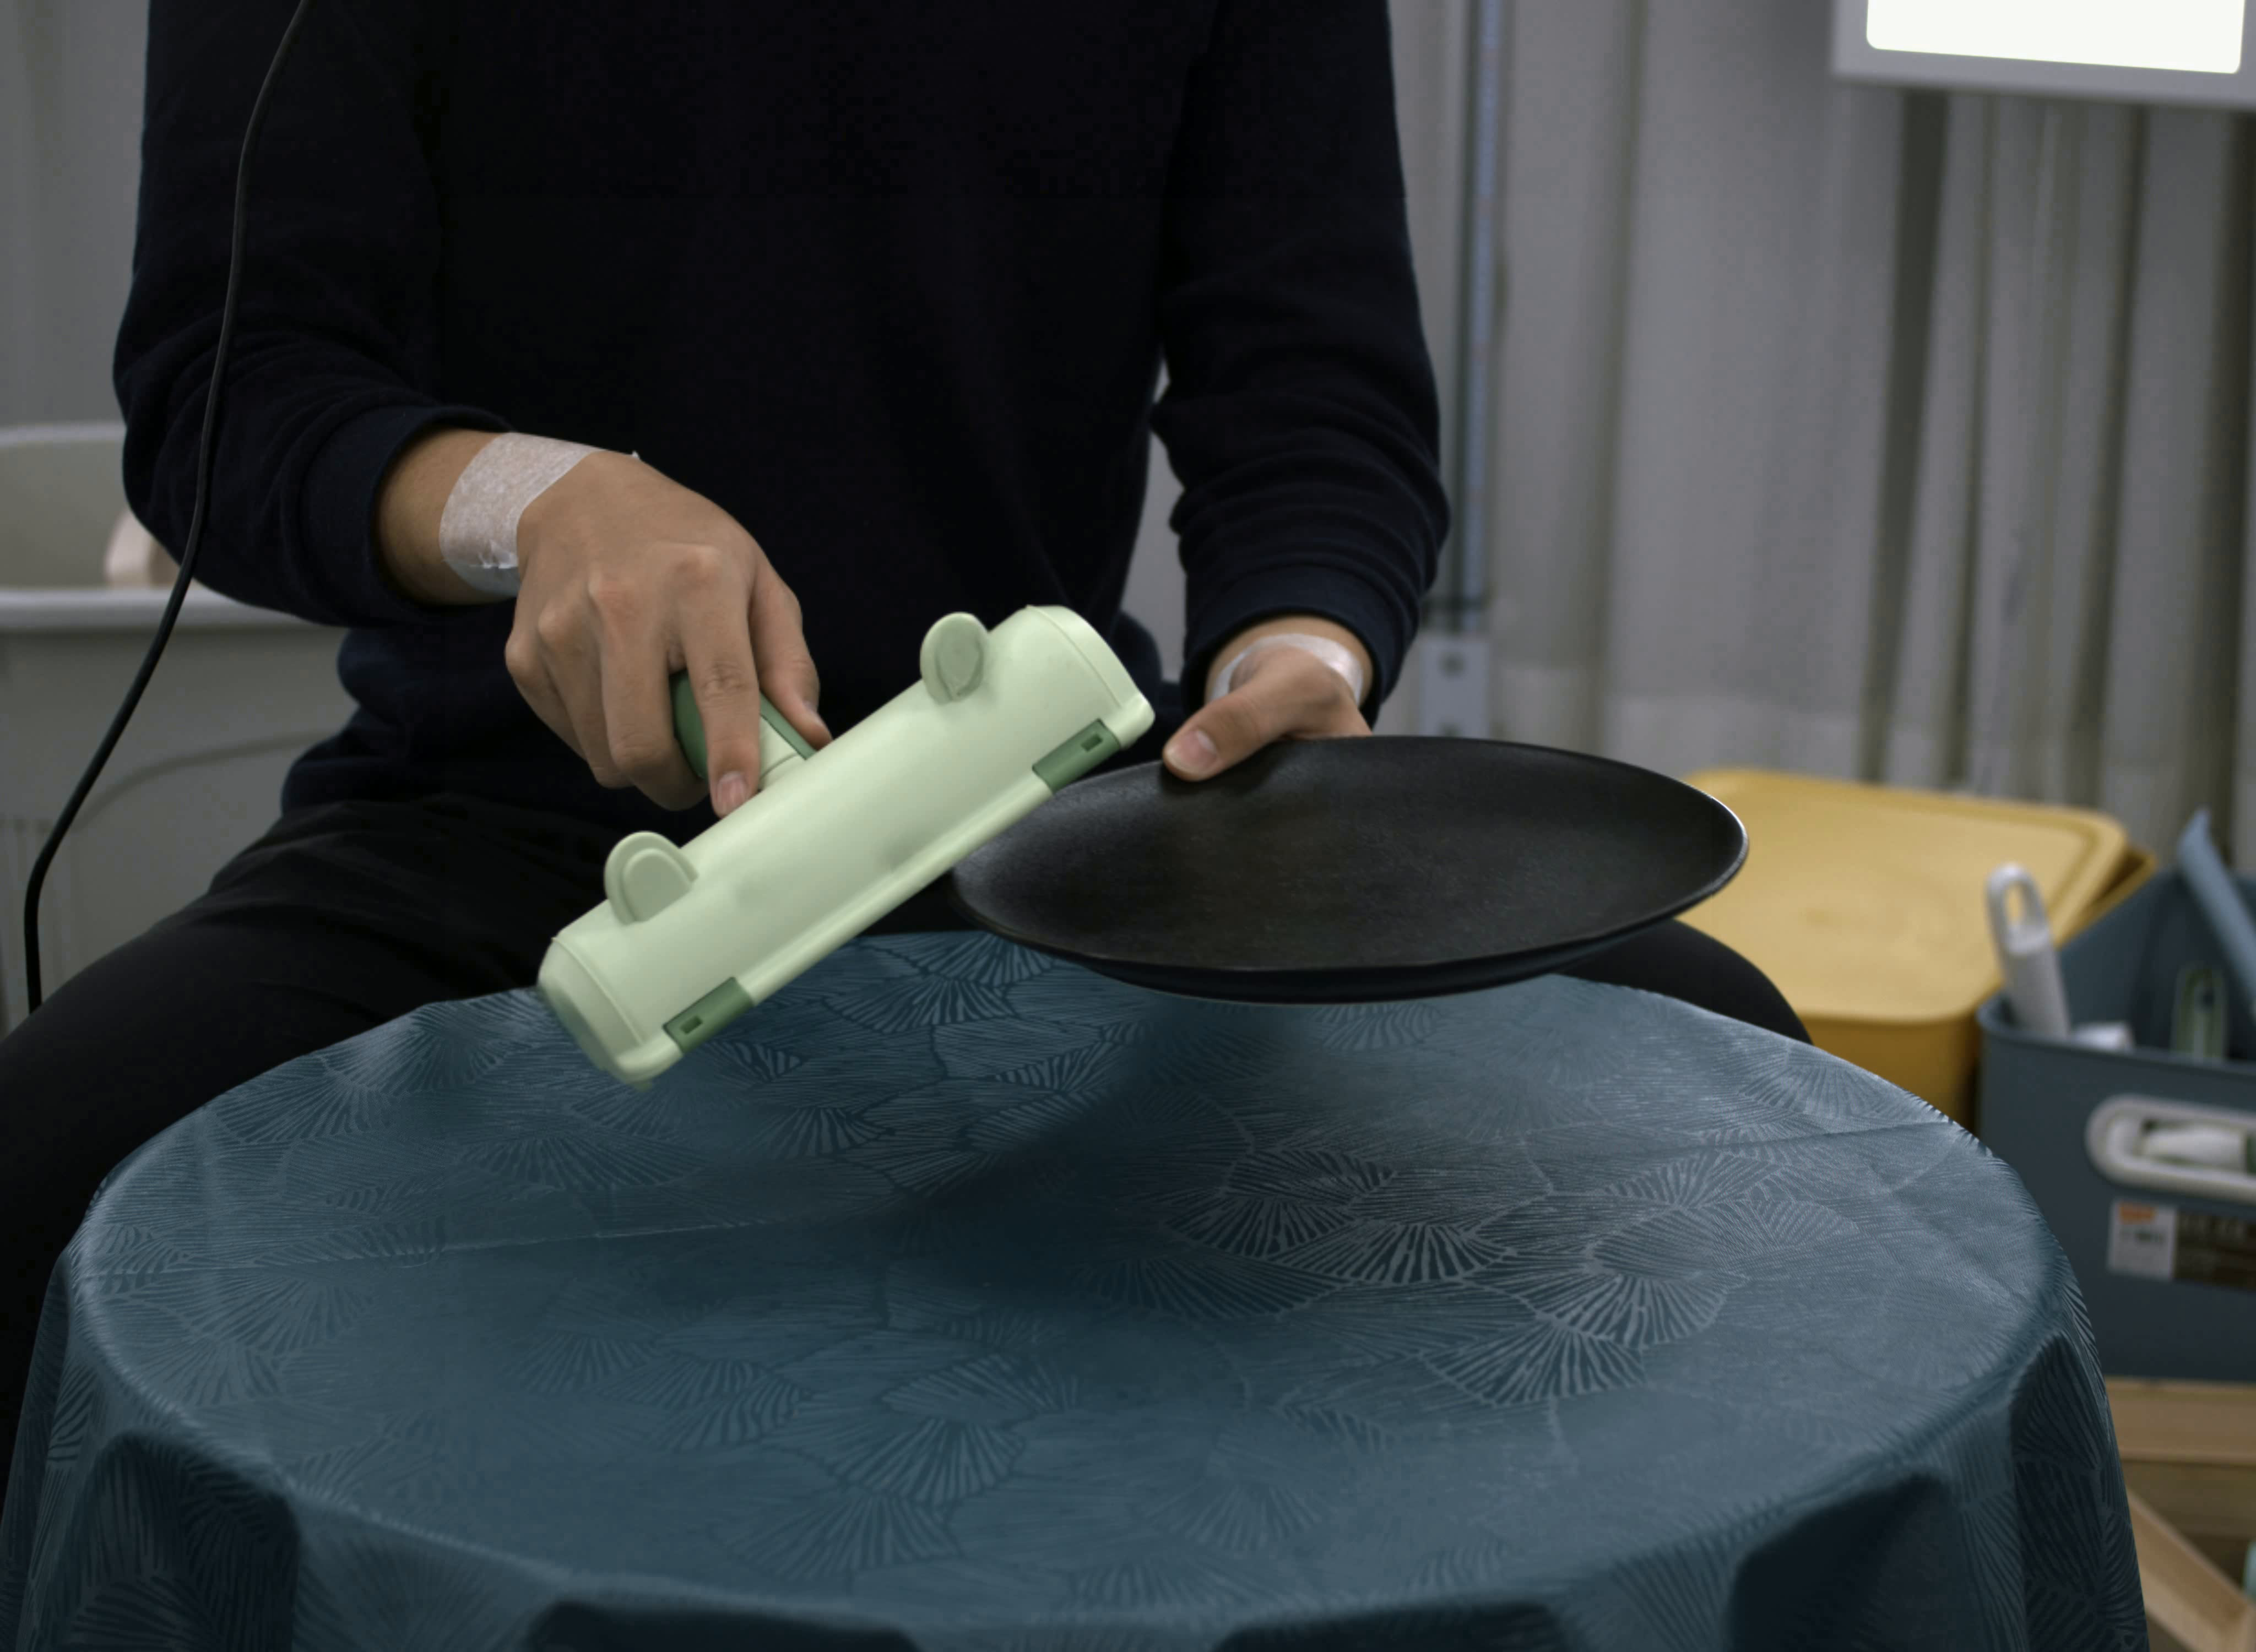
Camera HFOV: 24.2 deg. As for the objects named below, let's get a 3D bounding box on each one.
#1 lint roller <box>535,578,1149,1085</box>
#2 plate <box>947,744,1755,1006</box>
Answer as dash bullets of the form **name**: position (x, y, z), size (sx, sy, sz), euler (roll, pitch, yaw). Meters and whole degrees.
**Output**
- **lint roller**: position (-0.120, -0.035, 1.599), size (0.198, 0.083, 0.181), euler (-36, 59, -14)
- **plate**: position (0.067, 0.016, 1.585), size (0.243, 0.023, 0.243), euler (-2, 16, 1)
